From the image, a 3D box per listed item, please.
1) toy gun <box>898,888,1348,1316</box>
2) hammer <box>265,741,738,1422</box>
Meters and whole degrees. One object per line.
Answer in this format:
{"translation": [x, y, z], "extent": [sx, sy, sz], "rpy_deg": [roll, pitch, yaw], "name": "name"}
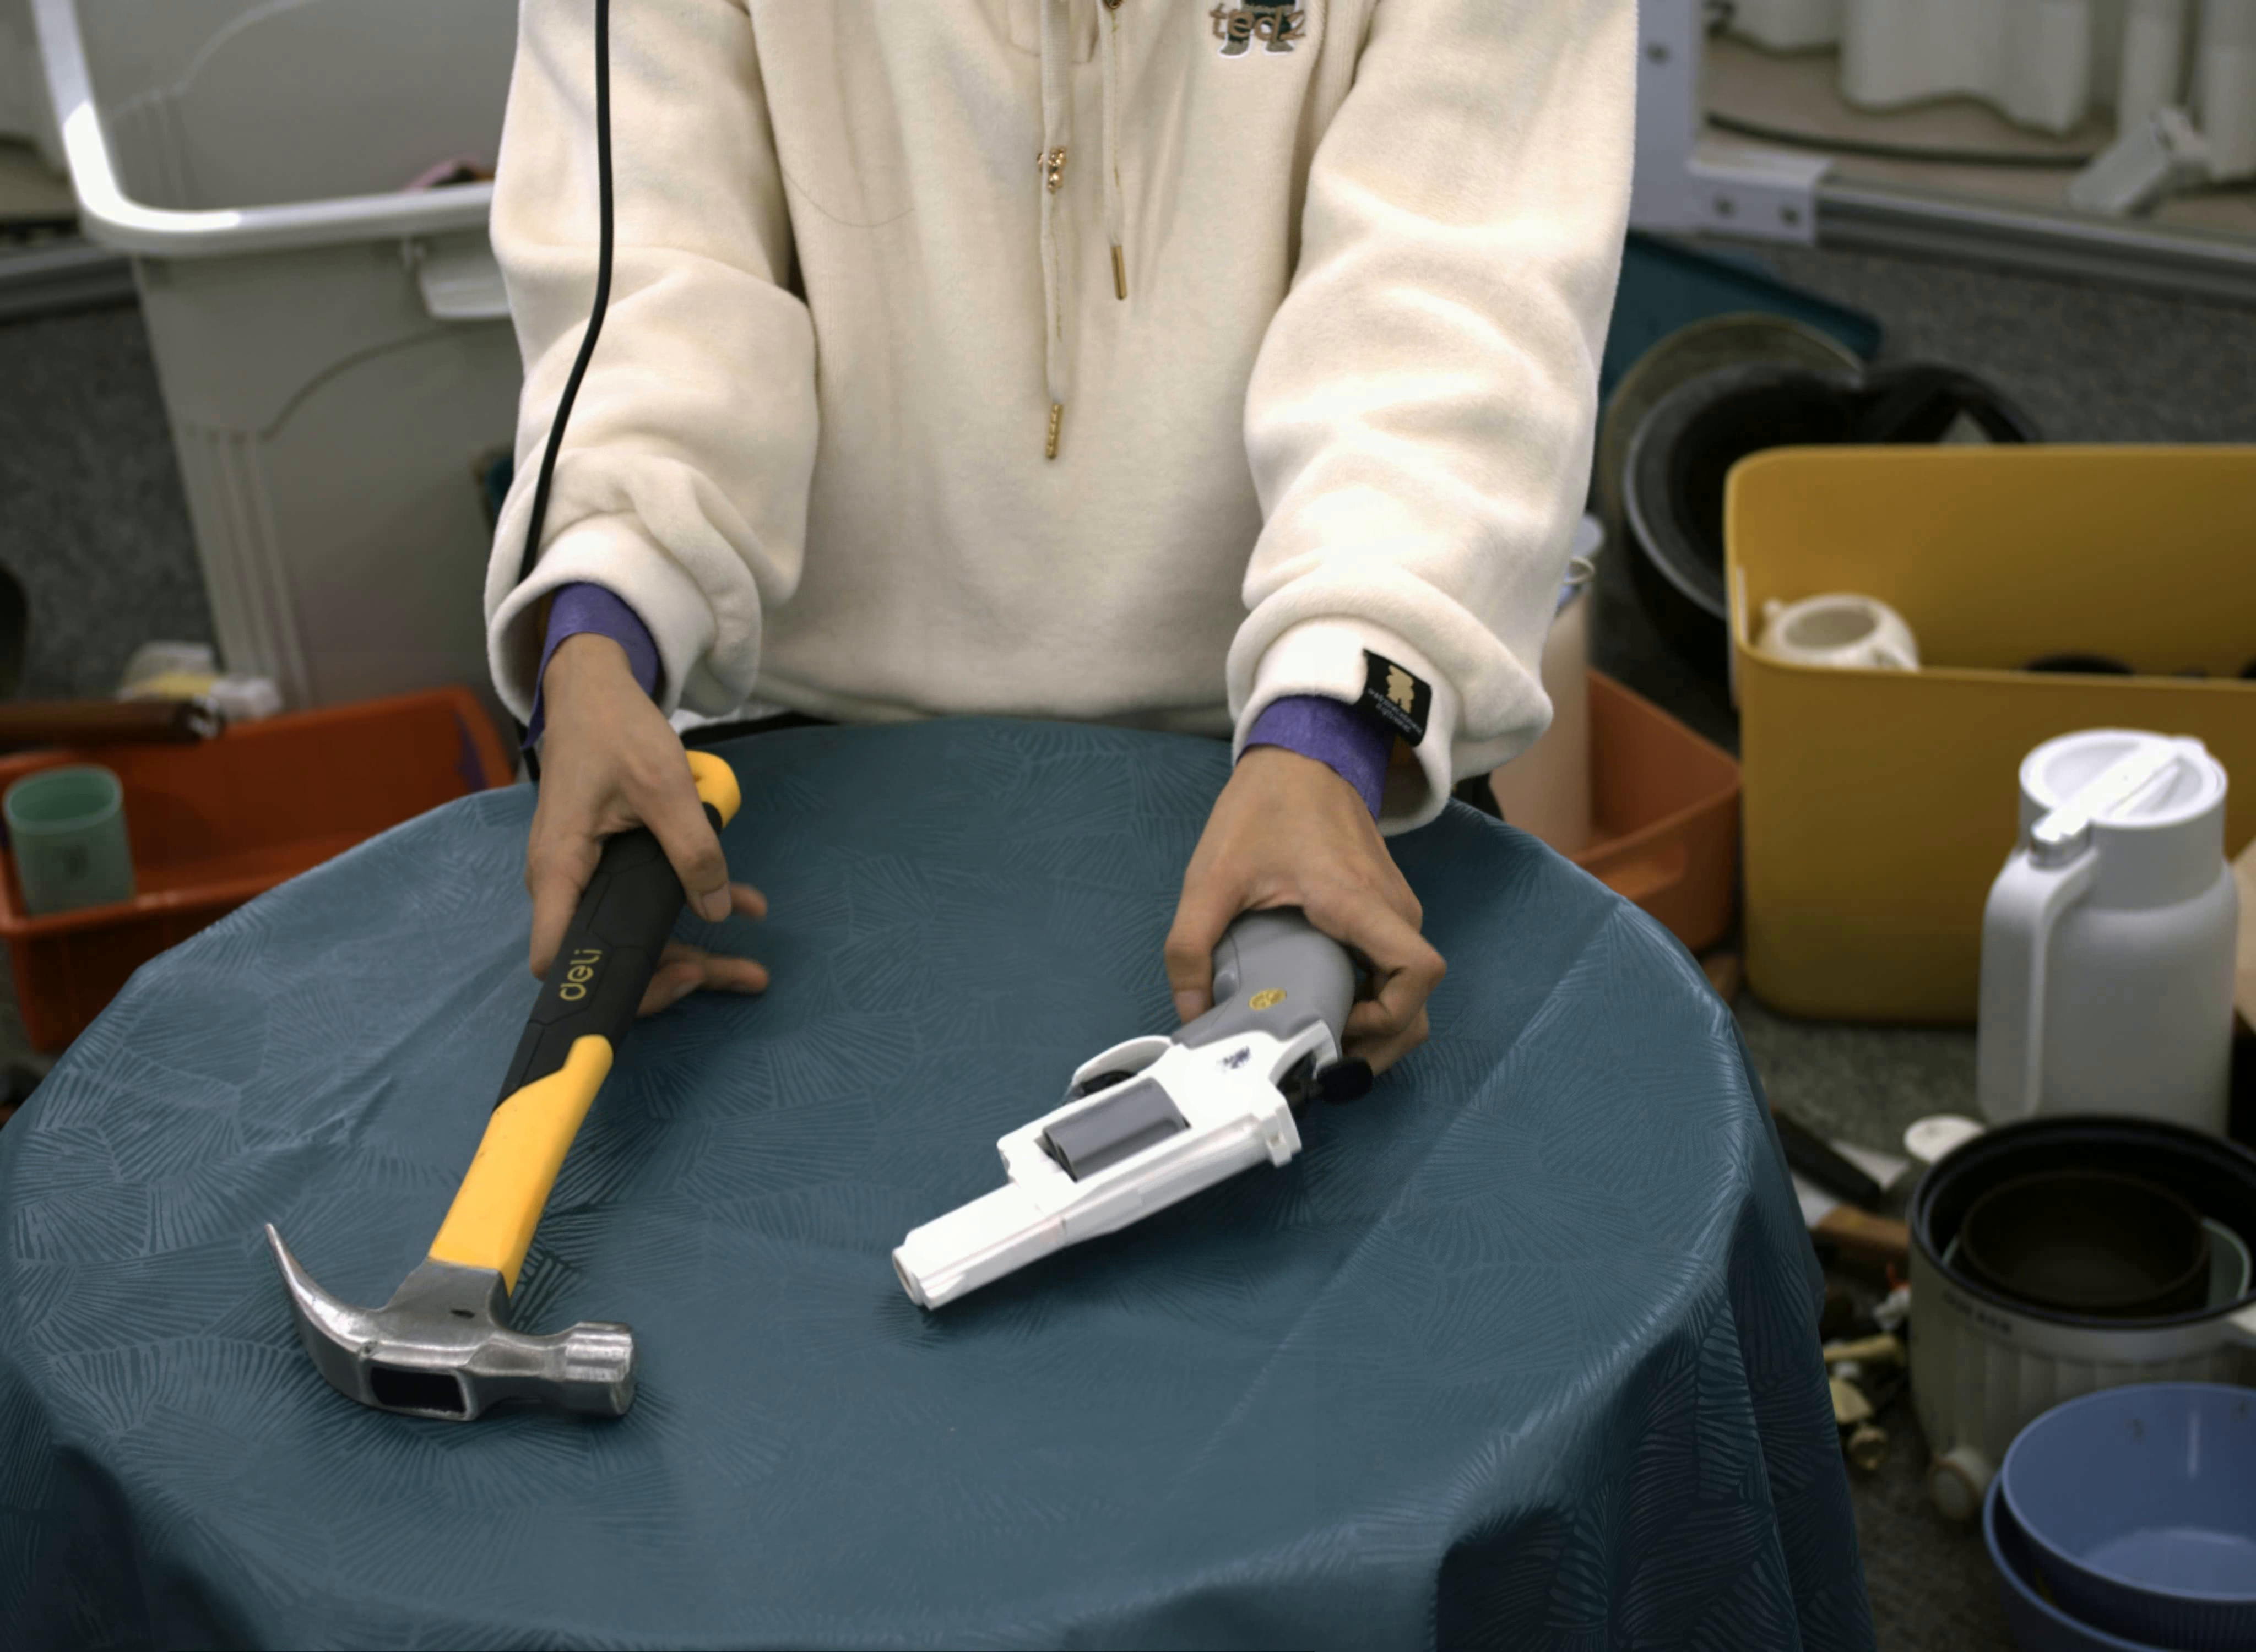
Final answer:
{"translation": [0.001, 0.091, 1.867], "extent": [0.210, 0.038, 0.142], "rpy_deg": [-24, 27, -17], "name": "toy gun"}
{"translation": [-0.190, 0.077, 1.886], "extent": [0.130, 0.032, 0.345], "rpy_deg": [1, 36, 13], "name": "hammer"}
